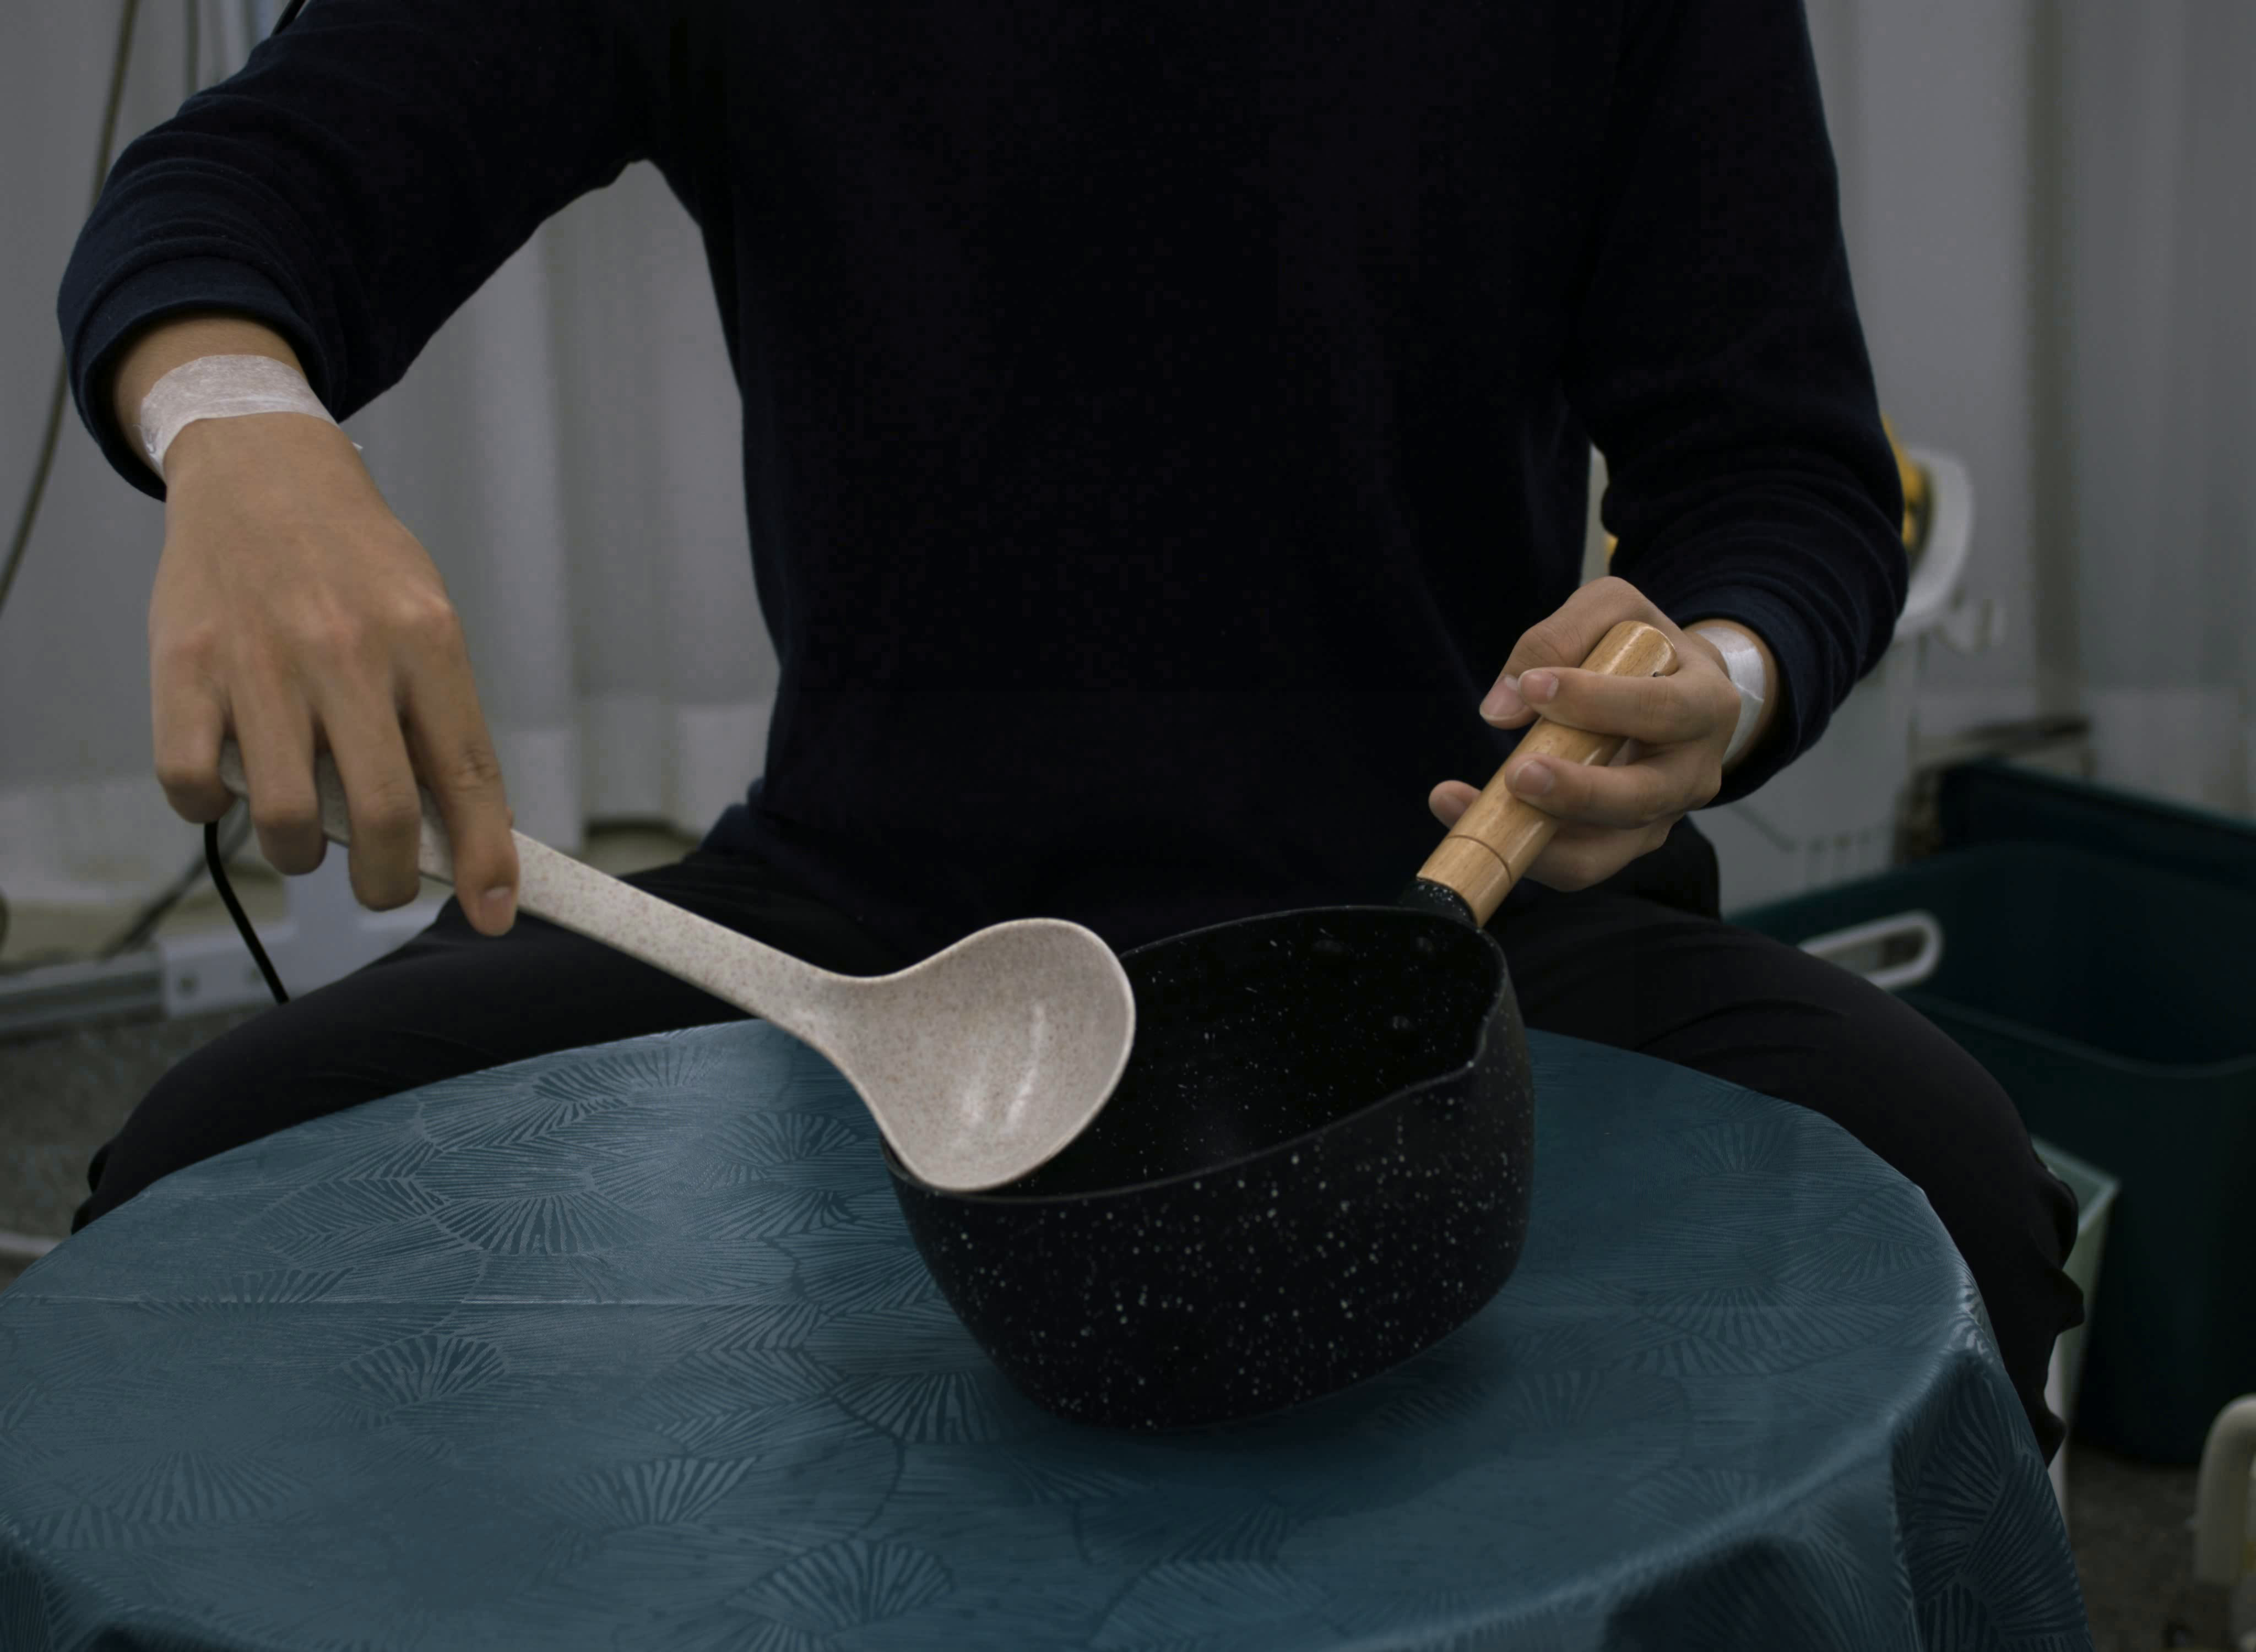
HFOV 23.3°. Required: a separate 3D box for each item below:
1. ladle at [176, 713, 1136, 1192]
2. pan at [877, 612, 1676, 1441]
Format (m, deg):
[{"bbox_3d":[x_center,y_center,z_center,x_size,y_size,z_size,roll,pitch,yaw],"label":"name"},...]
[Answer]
[{"bbox_3d":[-0.129,0.021,1.514,0.273,0.090,0.069,25,-25,-15],"label":"ladle"},{"bbox_3d":[0.072,0.055,1.599,0.208,0.107,0.344,-2,25,41],"label":"pan"}]
